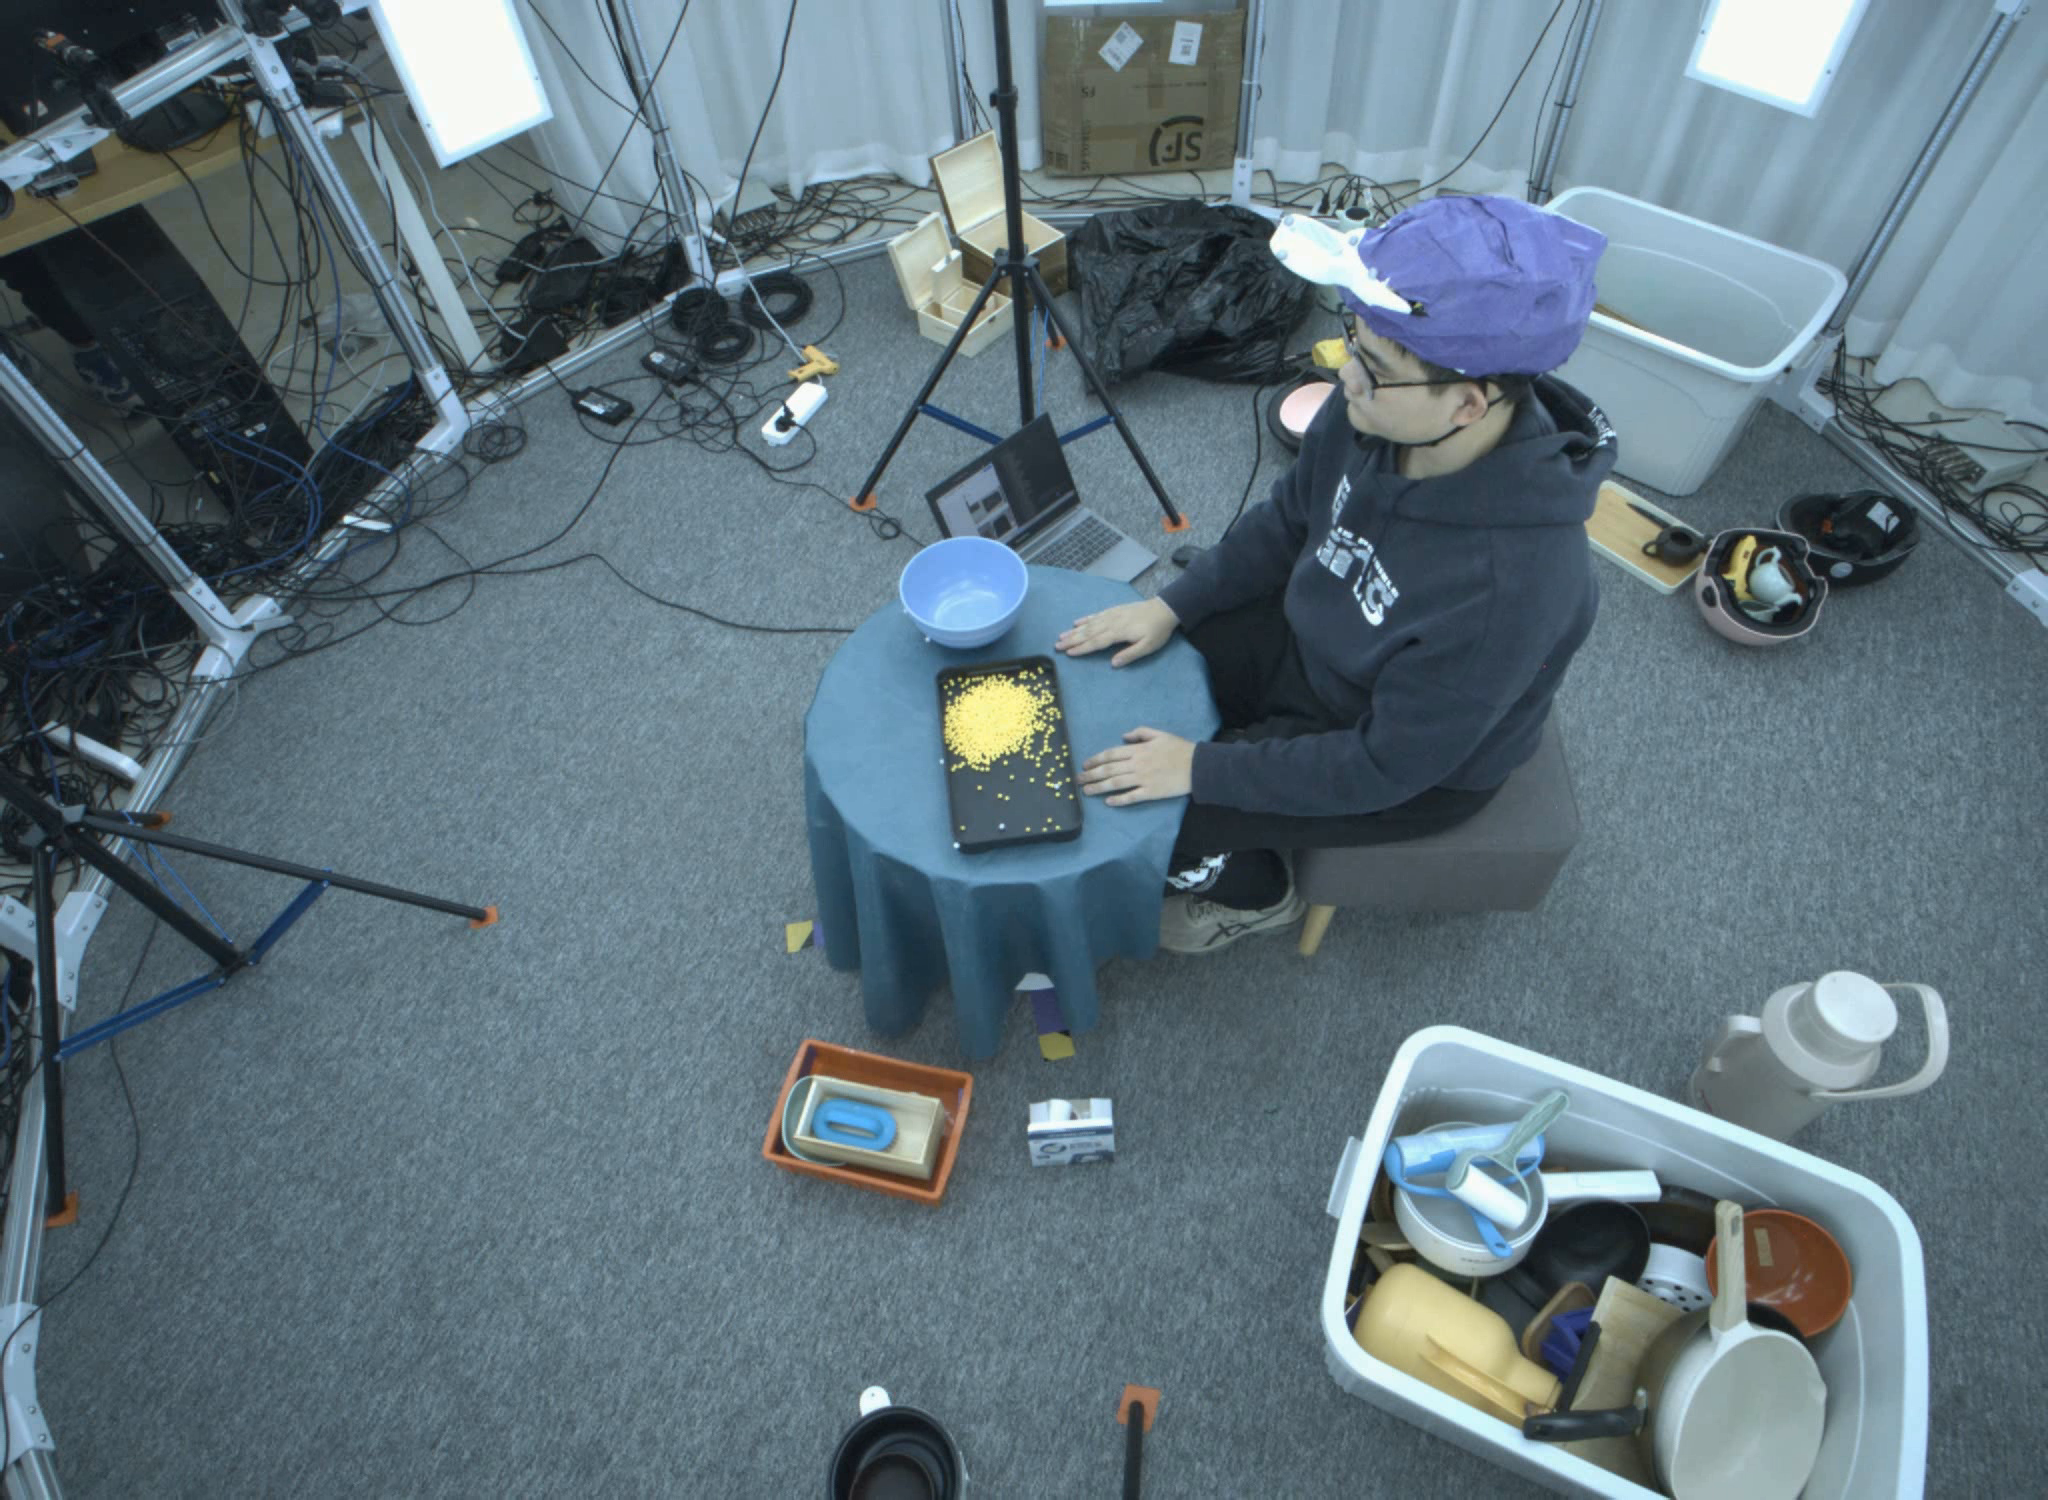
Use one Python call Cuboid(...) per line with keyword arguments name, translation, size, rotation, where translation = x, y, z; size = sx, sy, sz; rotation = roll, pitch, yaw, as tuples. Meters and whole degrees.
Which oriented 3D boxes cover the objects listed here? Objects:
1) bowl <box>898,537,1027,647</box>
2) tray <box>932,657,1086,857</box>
Cuboid(name="bowl", translation=(-0.091, -0.228, 1.892), size=(0.196, 0.096, 0.194), rotation=(-1, 54, 2))
Cuboid(name="tray", translation=(-0.025, 0.005, 1.765), size=(0.185, 0.037, 0.313), rotation=(-8, 54, -5))
